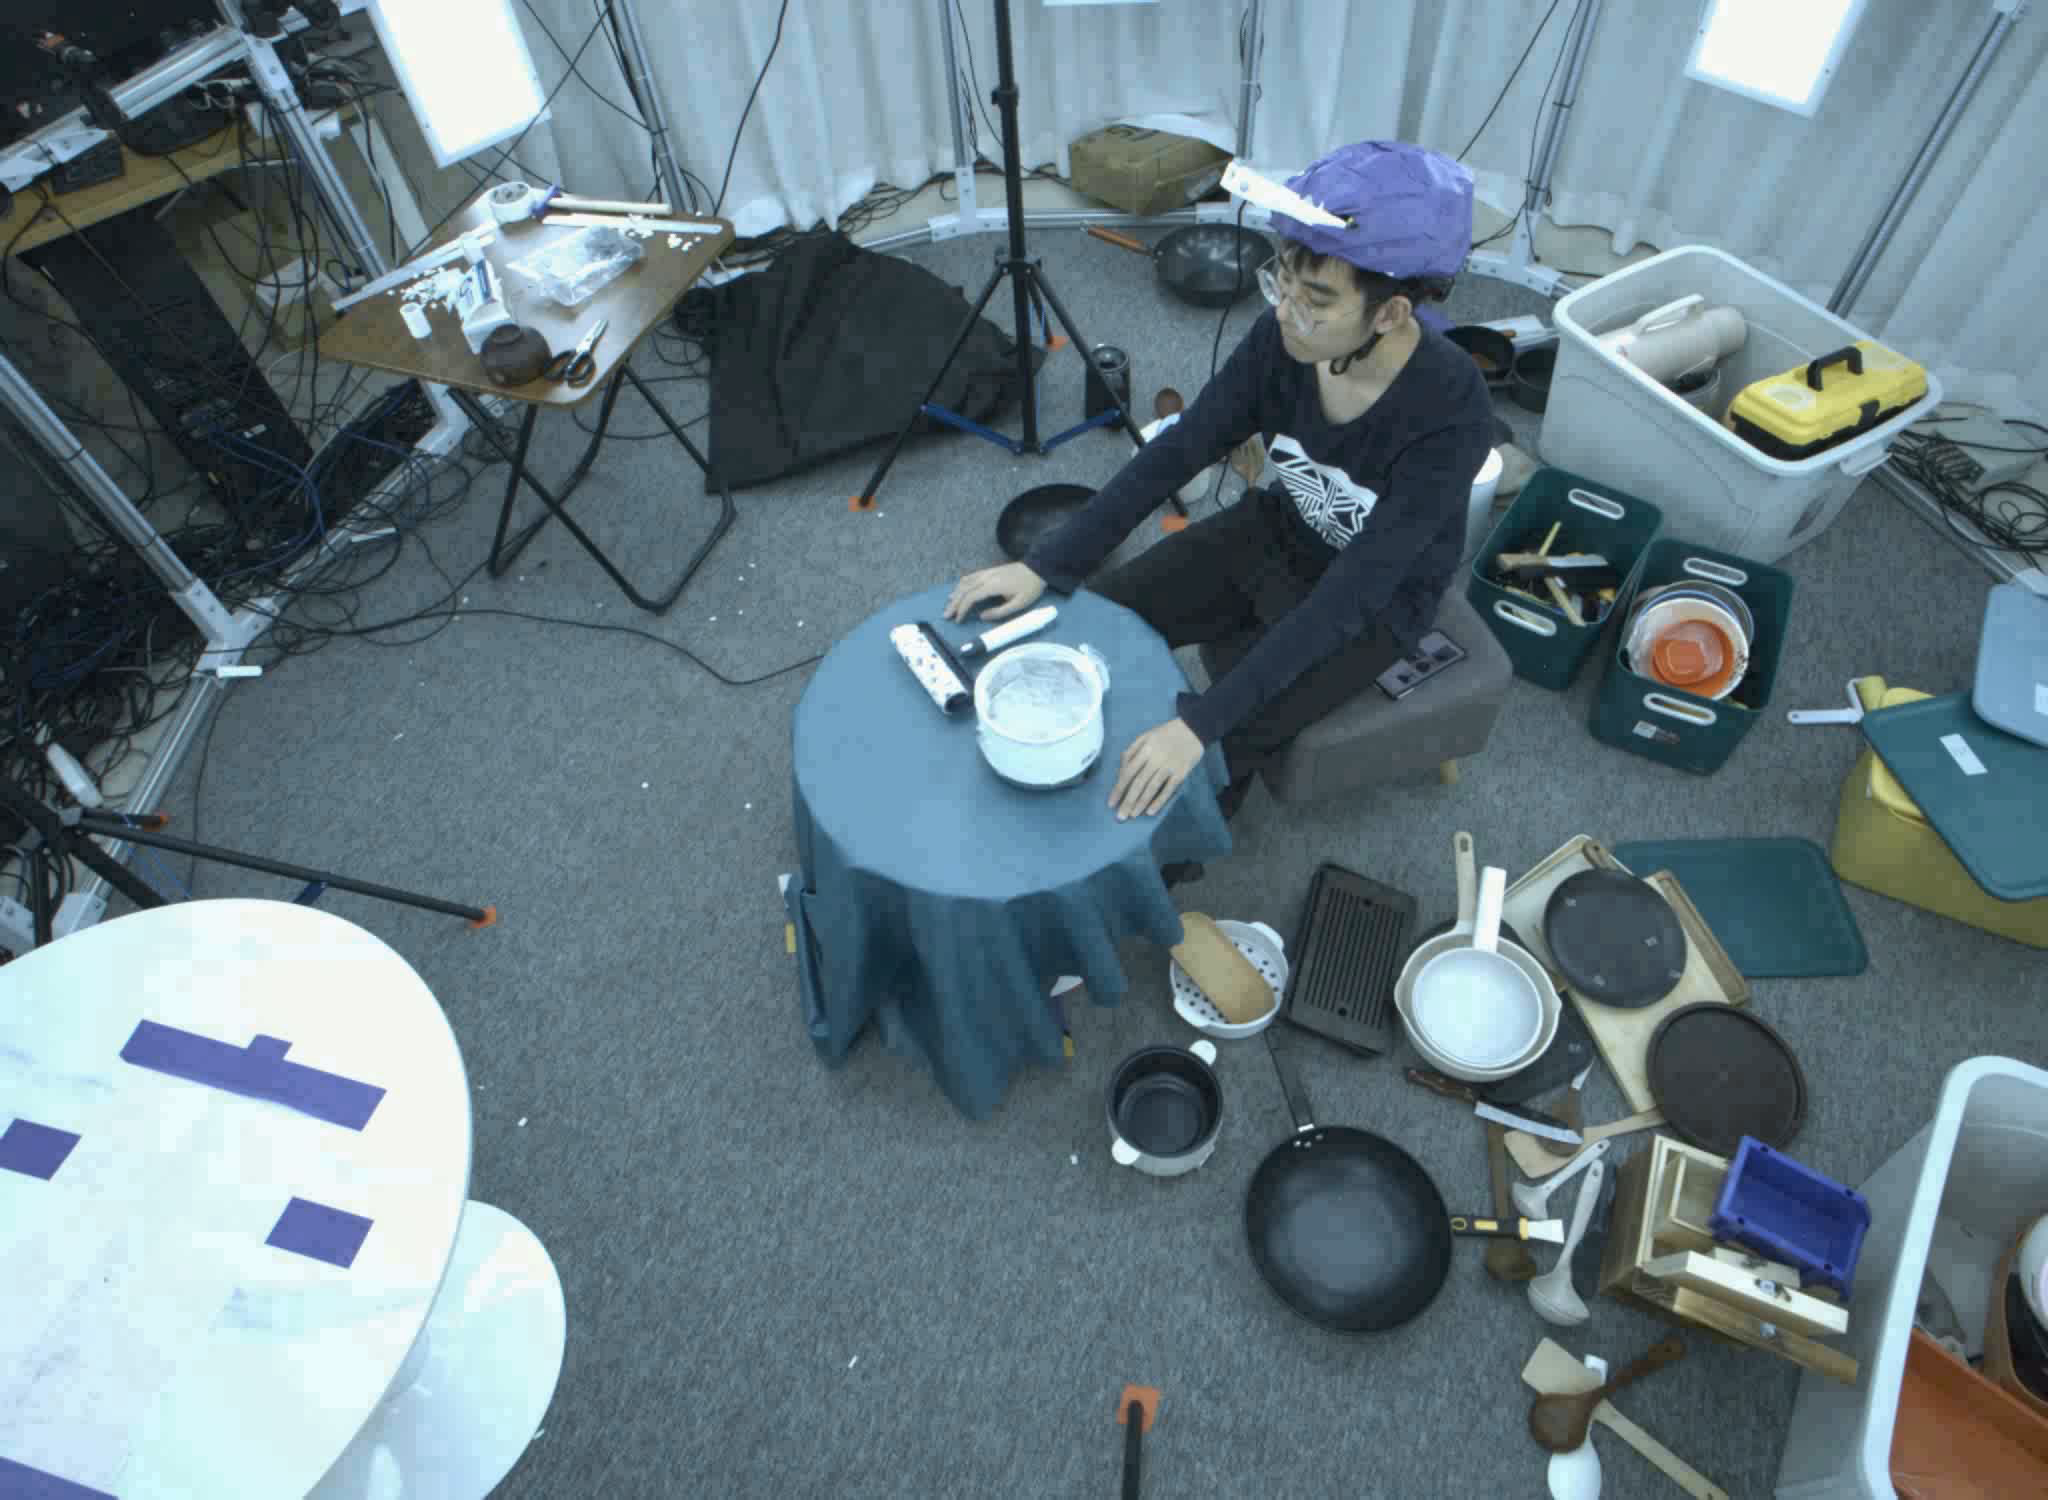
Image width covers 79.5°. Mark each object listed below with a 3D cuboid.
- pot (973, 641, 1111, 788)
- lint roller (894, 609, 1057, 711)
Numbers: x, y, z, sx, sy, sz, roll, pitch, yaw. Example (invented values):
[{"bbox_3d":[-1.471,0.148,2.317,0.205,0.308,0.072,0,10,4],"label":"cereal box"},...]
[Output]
[{"bbox_3d":[0.040,-0.064,1.750,0.176,0.138,0.235,34,65,20],"label":"pot"},{"bbox_3d":[-0.057,-0.170,1.892,0.249,0.051,0.173,-27,57,-20],"label":"lint roller"}]
